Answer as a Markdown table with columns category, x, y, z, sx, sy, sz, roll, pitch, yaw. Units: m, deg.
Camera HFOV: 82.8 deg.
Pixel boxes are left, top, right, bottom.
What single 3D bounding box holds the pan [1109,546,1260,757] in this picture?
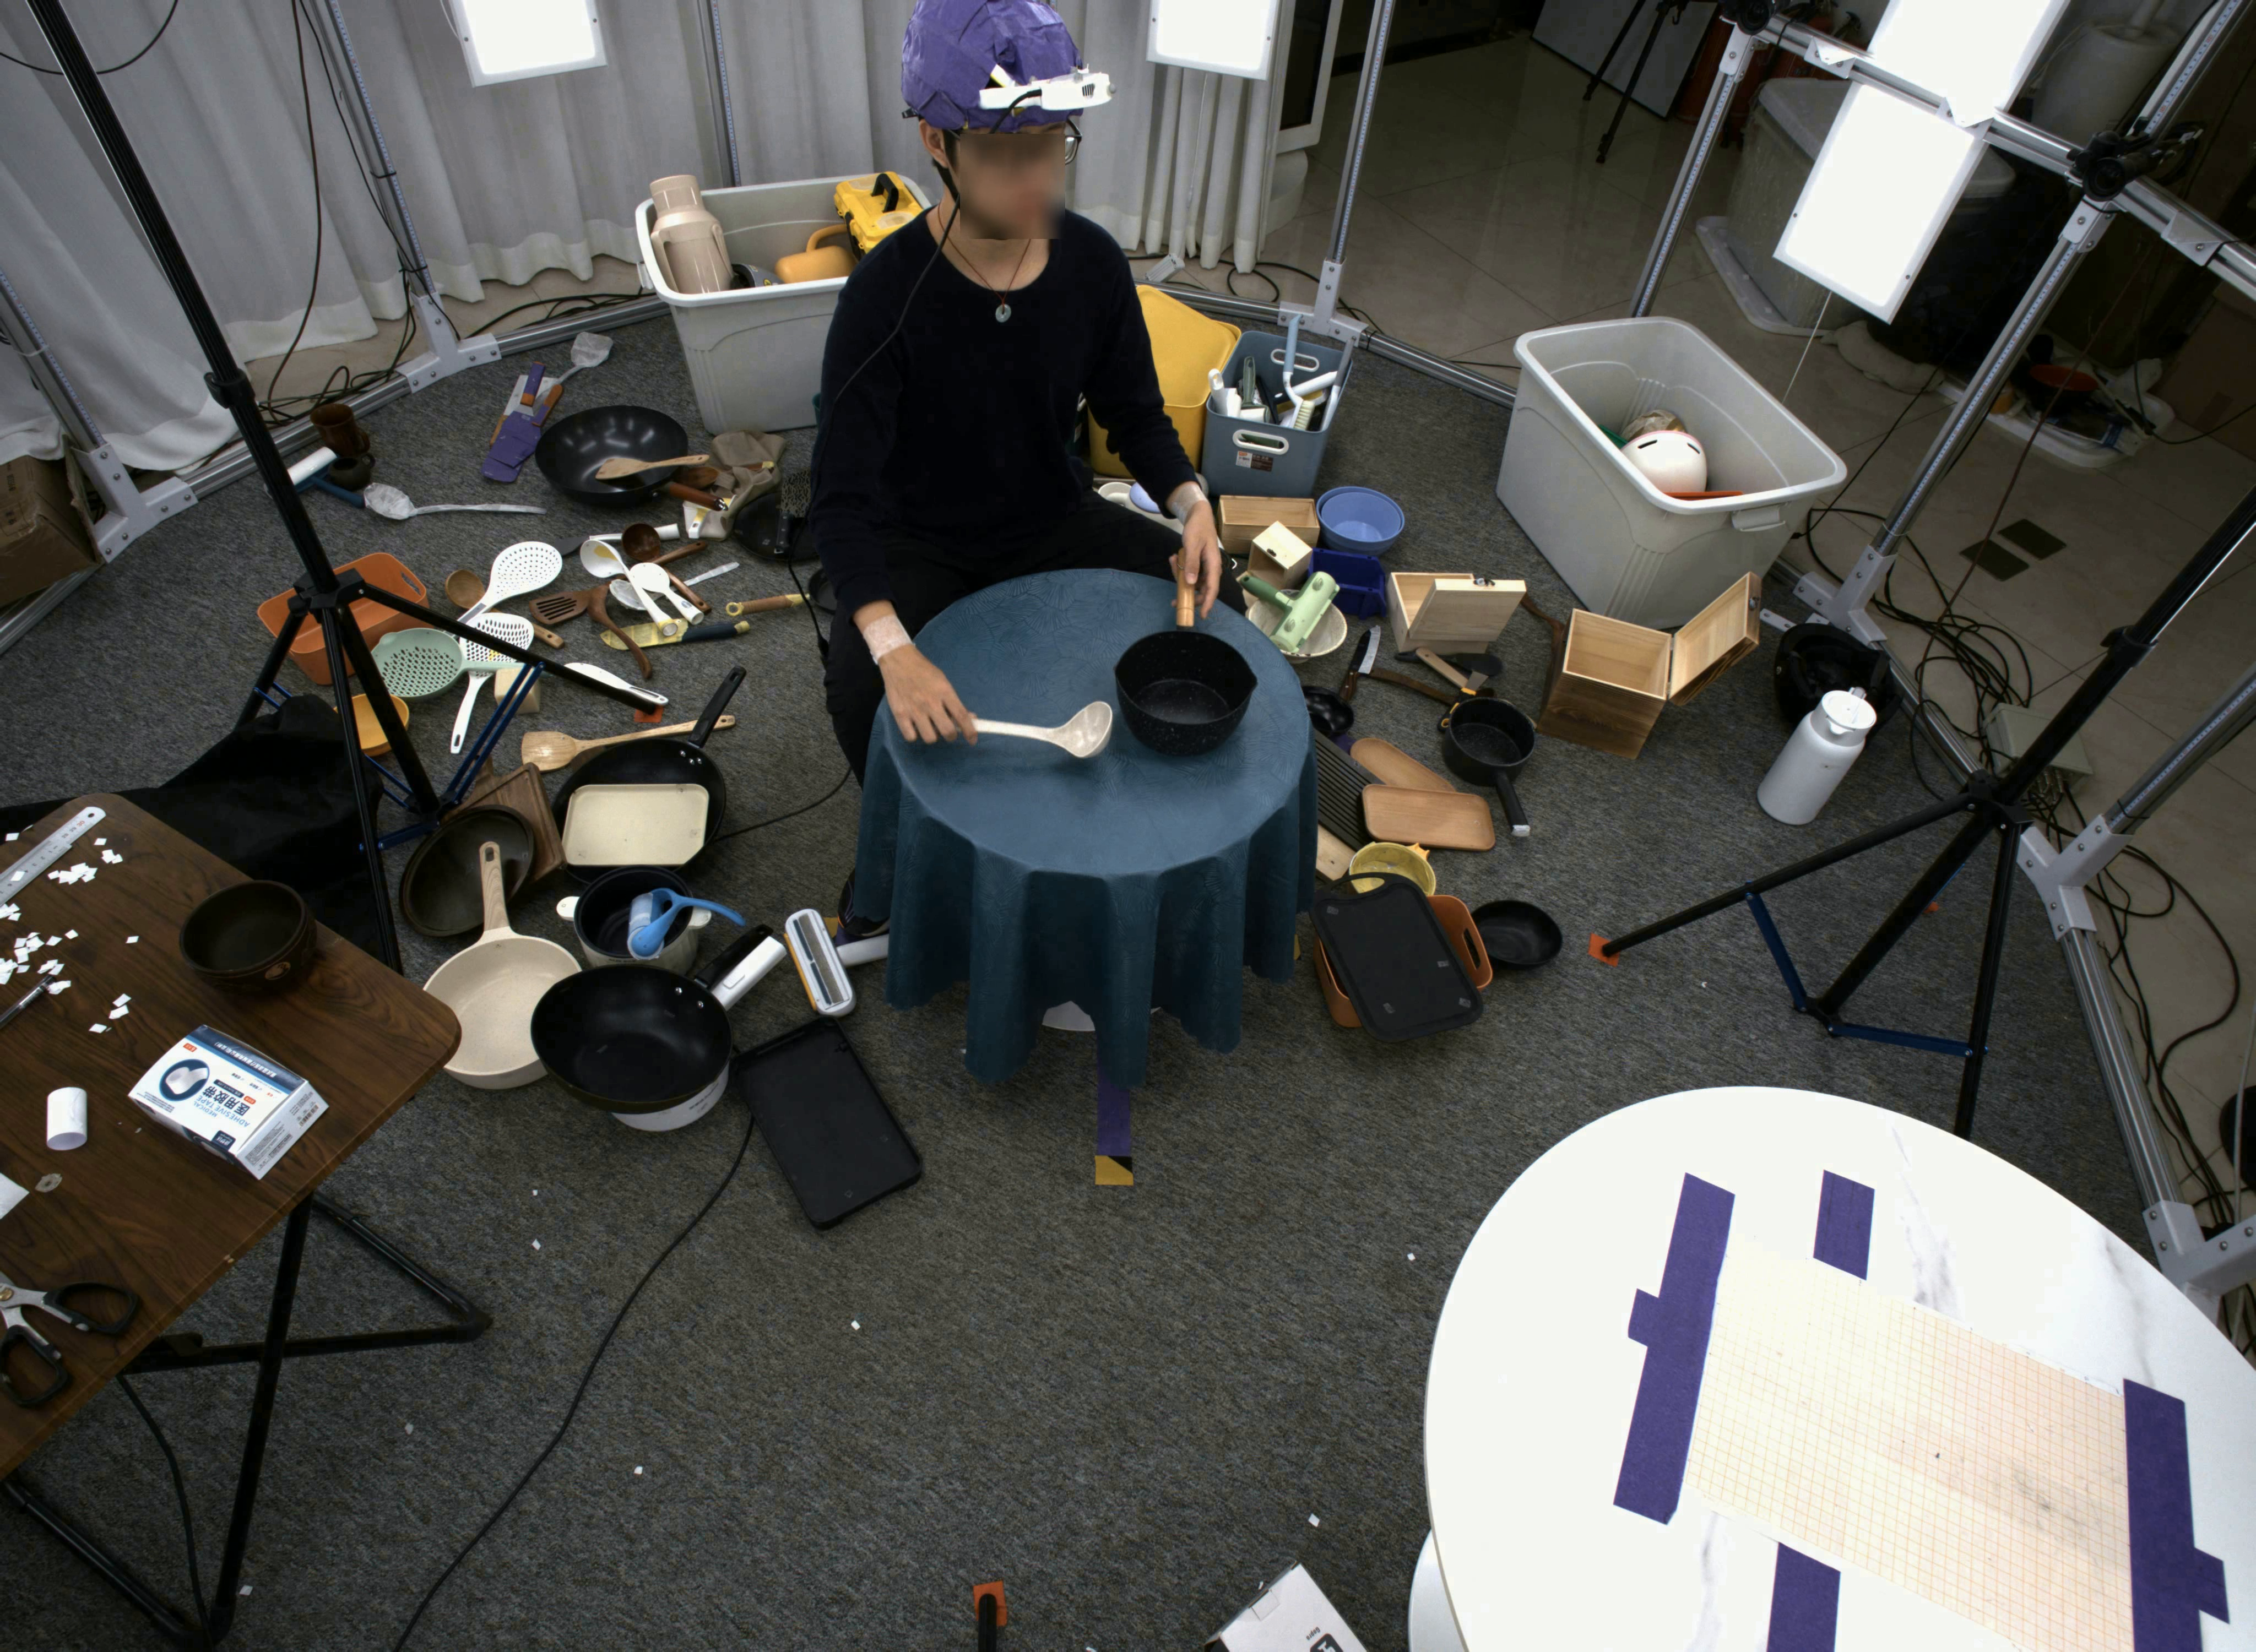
| category | x | y | z | sx | sy | sz | roll | pitch | yaw |
| --- | --- | --- | --- | --- | --- | --- | --- | --- | --- |
| pan | 0.077 | -0.248 | 1.819 | 0.207 | 0.105 | 0.351 | 2 | 50 | -1 |

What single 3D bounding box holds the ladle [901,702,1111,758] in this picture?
| category | x | y | z | sx | sy | sz | roll | pitch | yaw |
| --- | --- | --- | --- | --- | --- | --- | --- | --- | --- |
| ladle | -0.160 | -0.140 | 1.696 | 0.274 | 0.068 | 0.091 | 6 | 50 | -7 |
